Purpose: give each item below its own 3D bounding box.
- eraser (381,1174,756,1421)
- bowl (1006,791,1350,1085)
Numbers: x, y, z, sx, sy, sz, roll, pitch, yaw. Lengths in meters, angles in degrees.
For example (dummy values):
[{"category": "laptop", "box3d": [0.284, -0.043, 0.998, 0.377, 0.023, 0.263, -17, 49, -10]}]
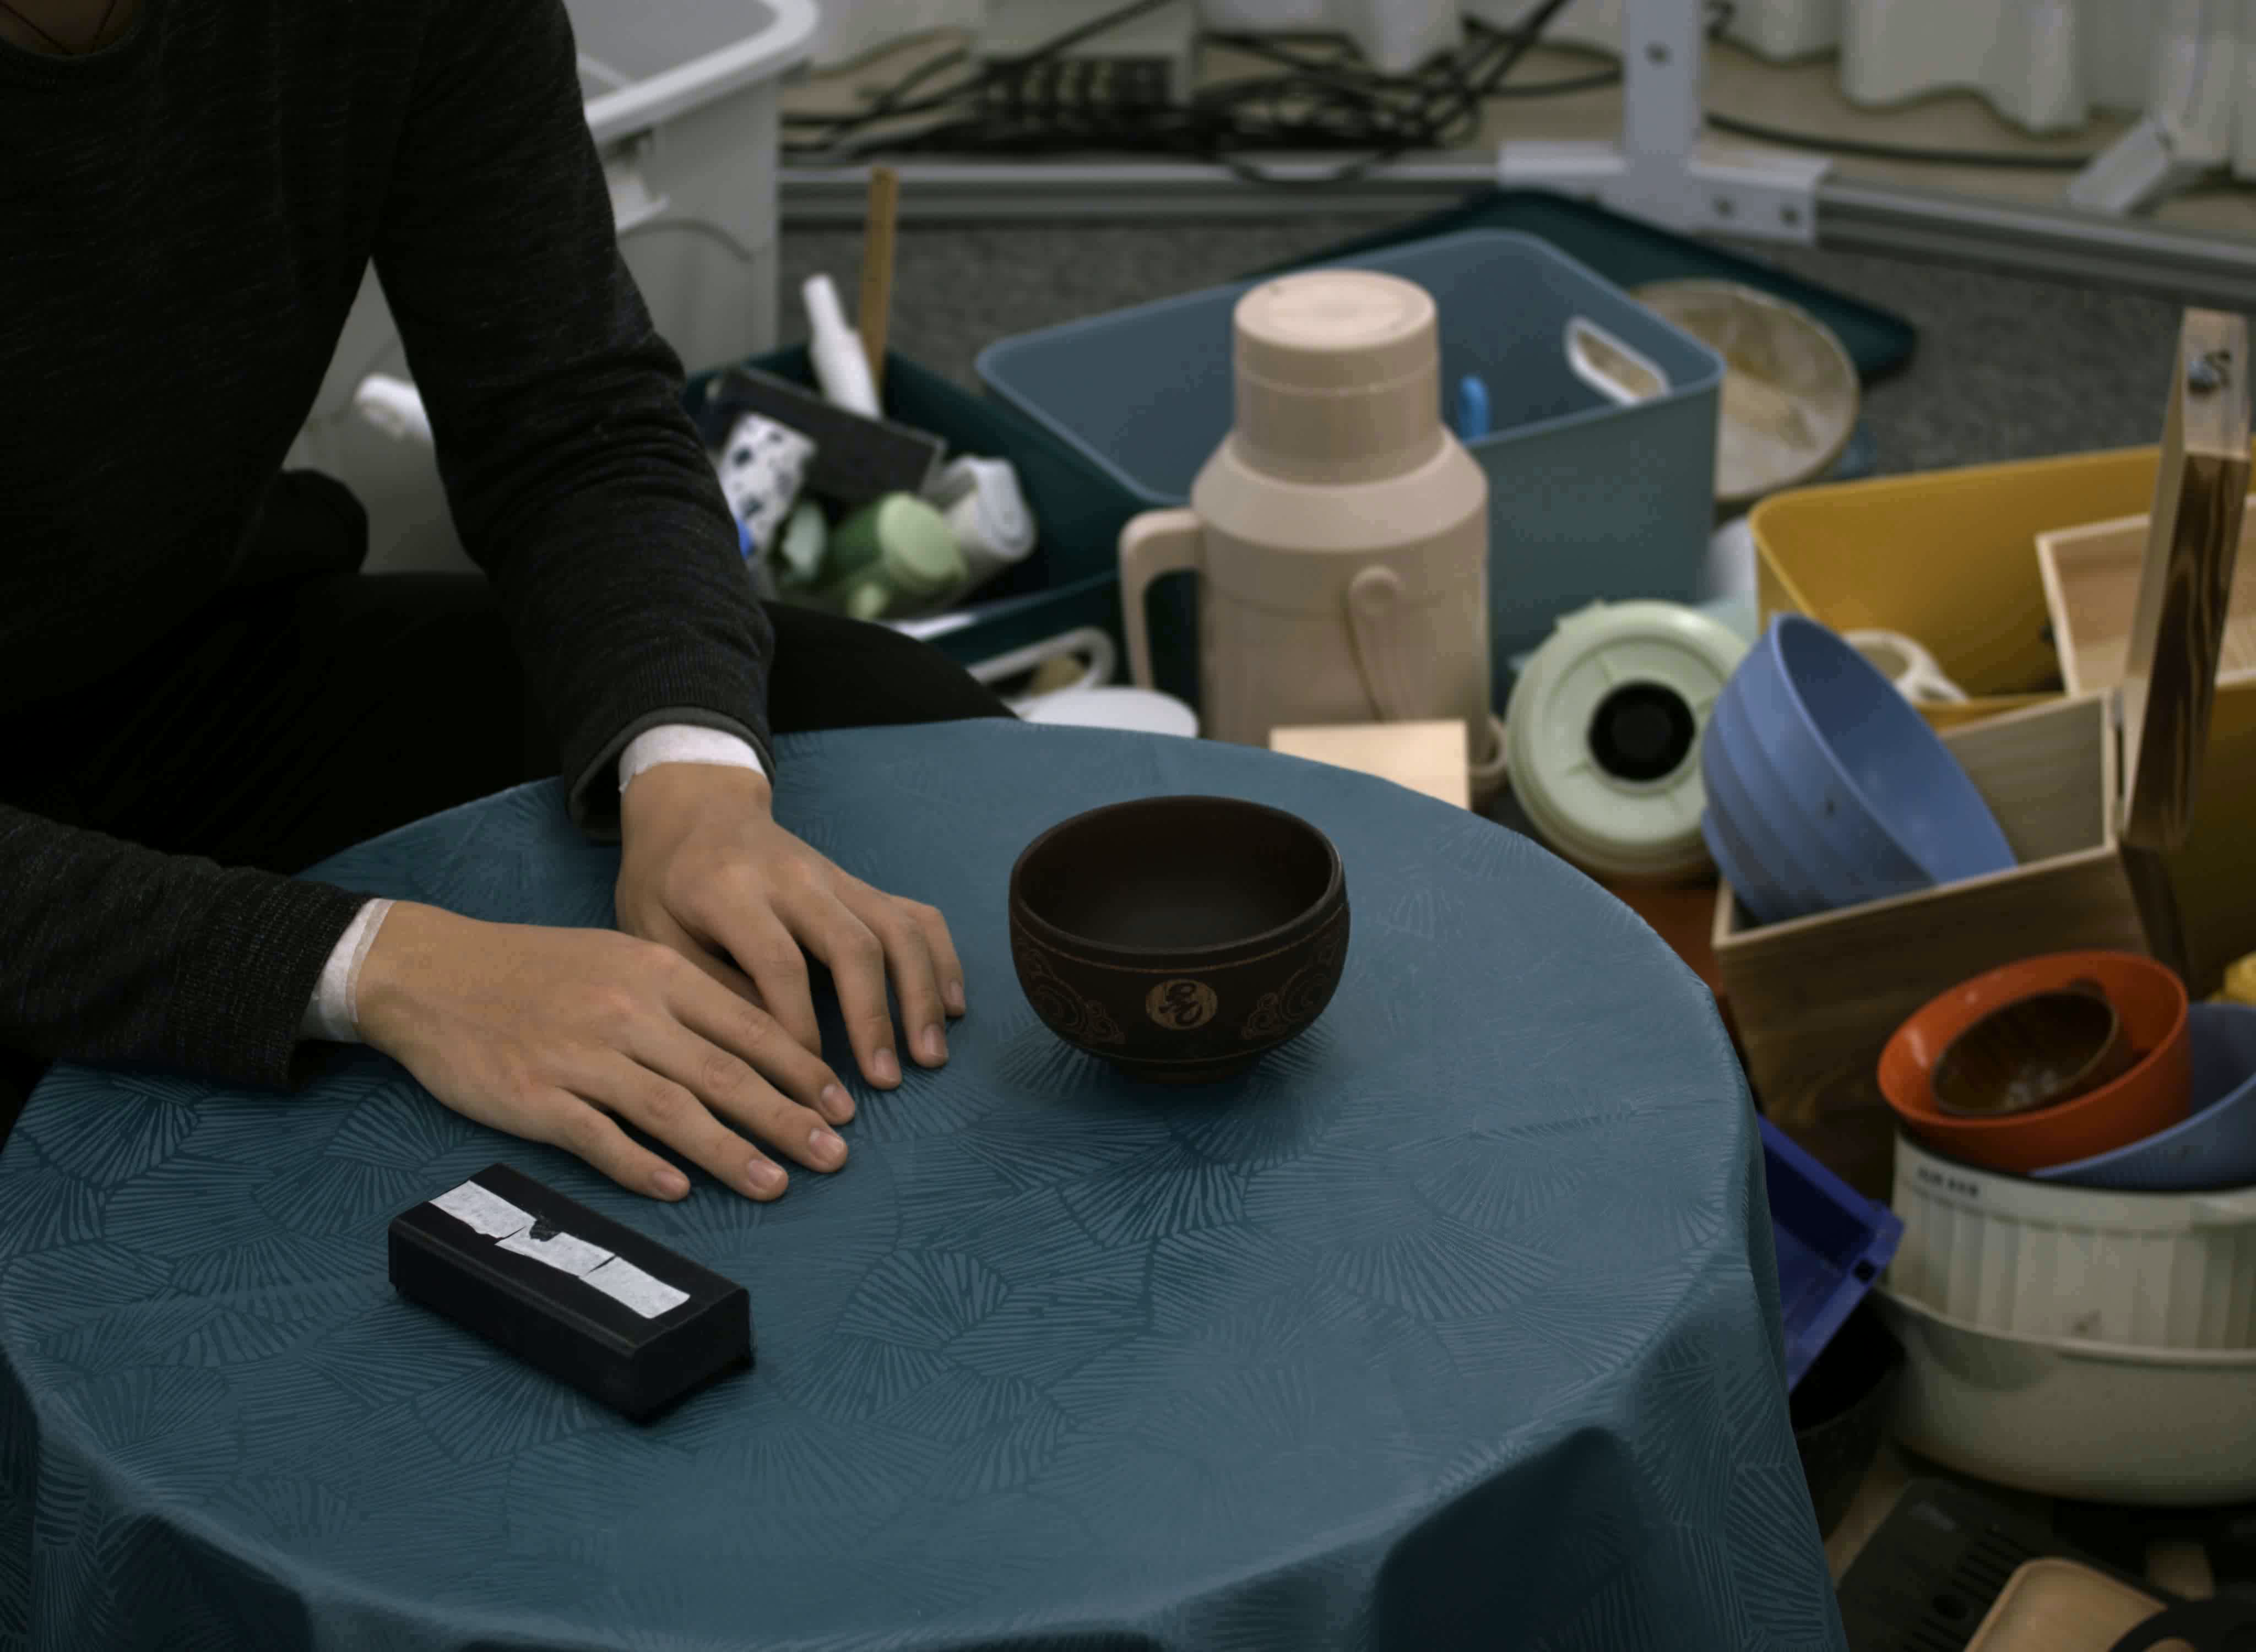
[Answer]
[{"category": "eraser", "box3d": [-0.178, 0.150, 1.793, 0.125, 0.030, 0.054, 21, 33, 39]}, {"category": "bowl", "box3d": [0.018, 0.045, 1.931, 0.117, 0.069, 0.120, -3, 29, 2]}]
